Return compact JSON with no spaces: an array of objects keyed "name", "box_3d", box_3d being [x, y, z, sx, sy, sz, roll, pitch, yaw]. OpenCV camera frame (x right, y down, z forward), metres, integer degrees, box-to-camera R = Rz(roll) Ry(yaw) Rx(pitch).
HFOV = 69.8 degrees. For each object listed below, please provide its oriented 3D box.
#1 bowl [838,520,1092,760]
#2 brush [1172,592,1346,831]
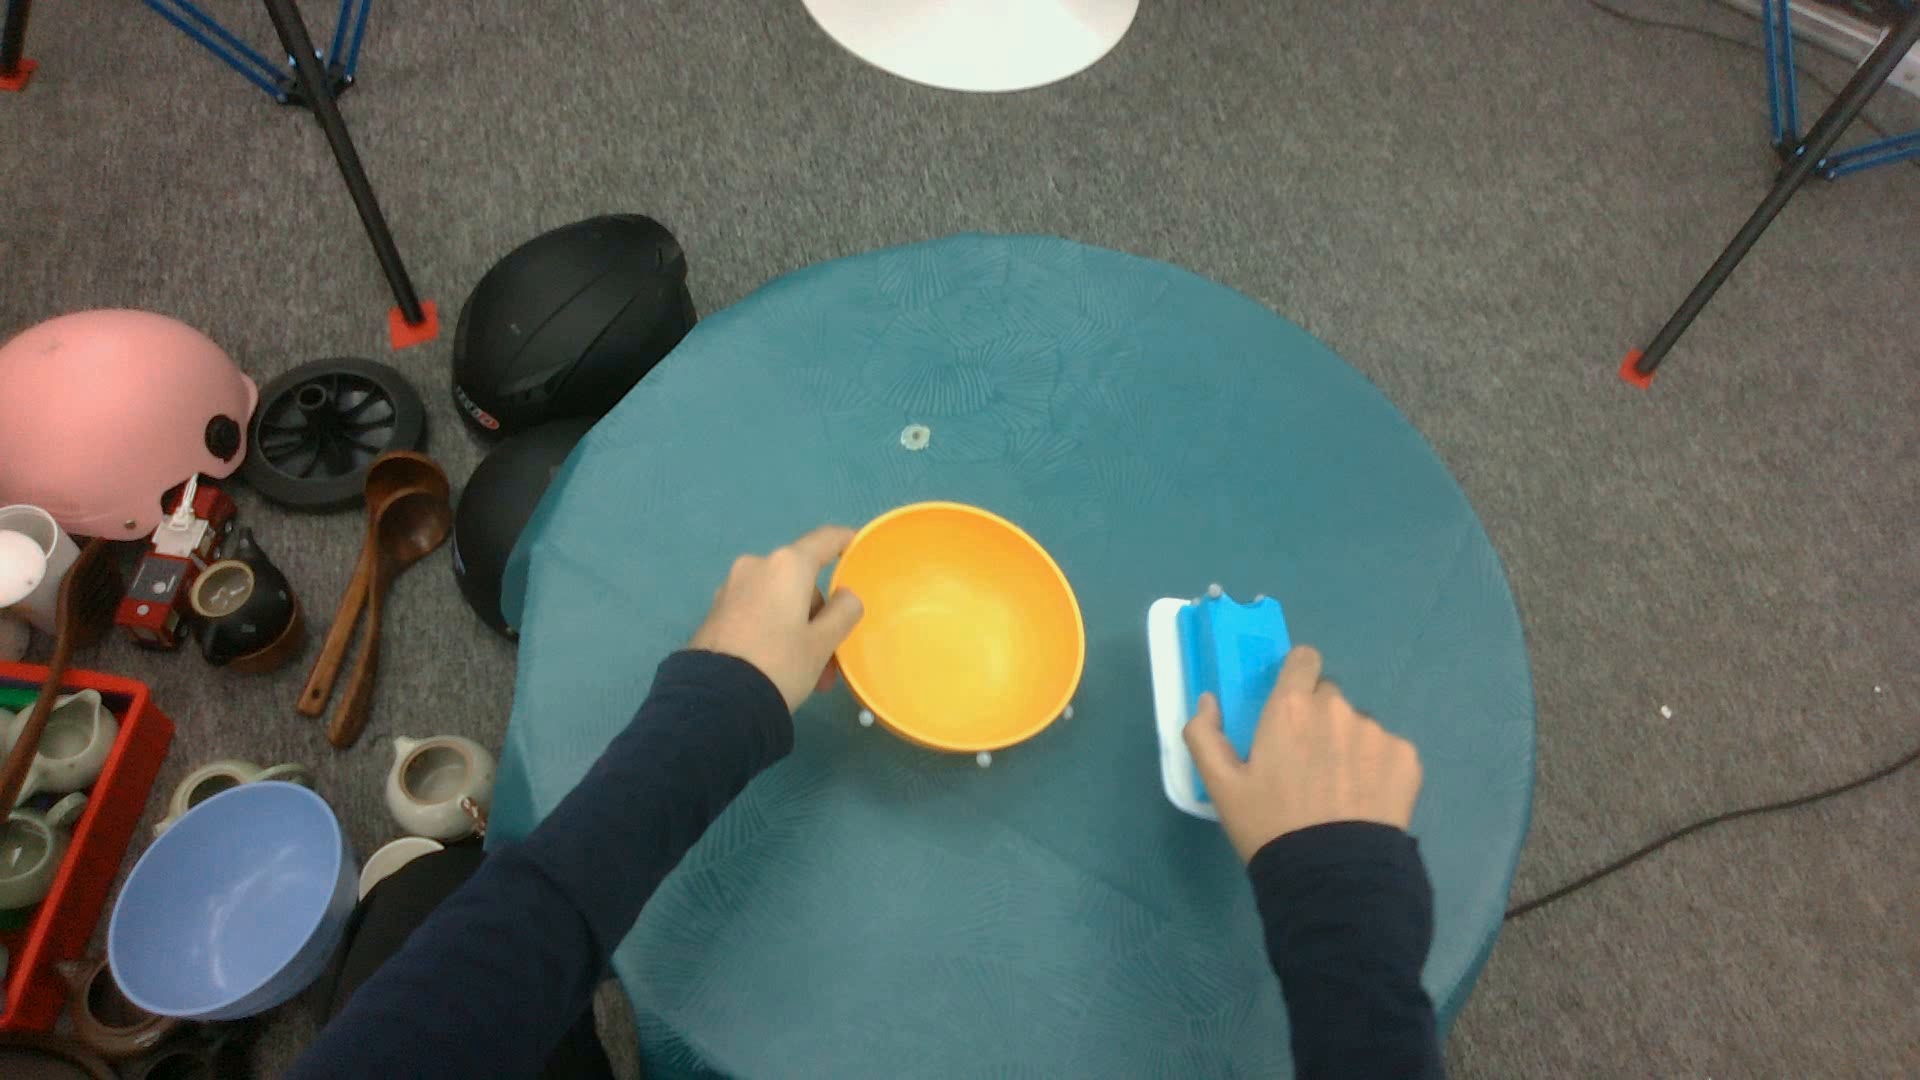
[{"name":"bowl","box_3d":[-0.003,0.064,0.770,0.145,0.060,0.146,9,56,-13]},{"name":"brush","box_3d":[0.159,0.083,0.734,0.084,0.055,0.144,5,46,-3]}]
